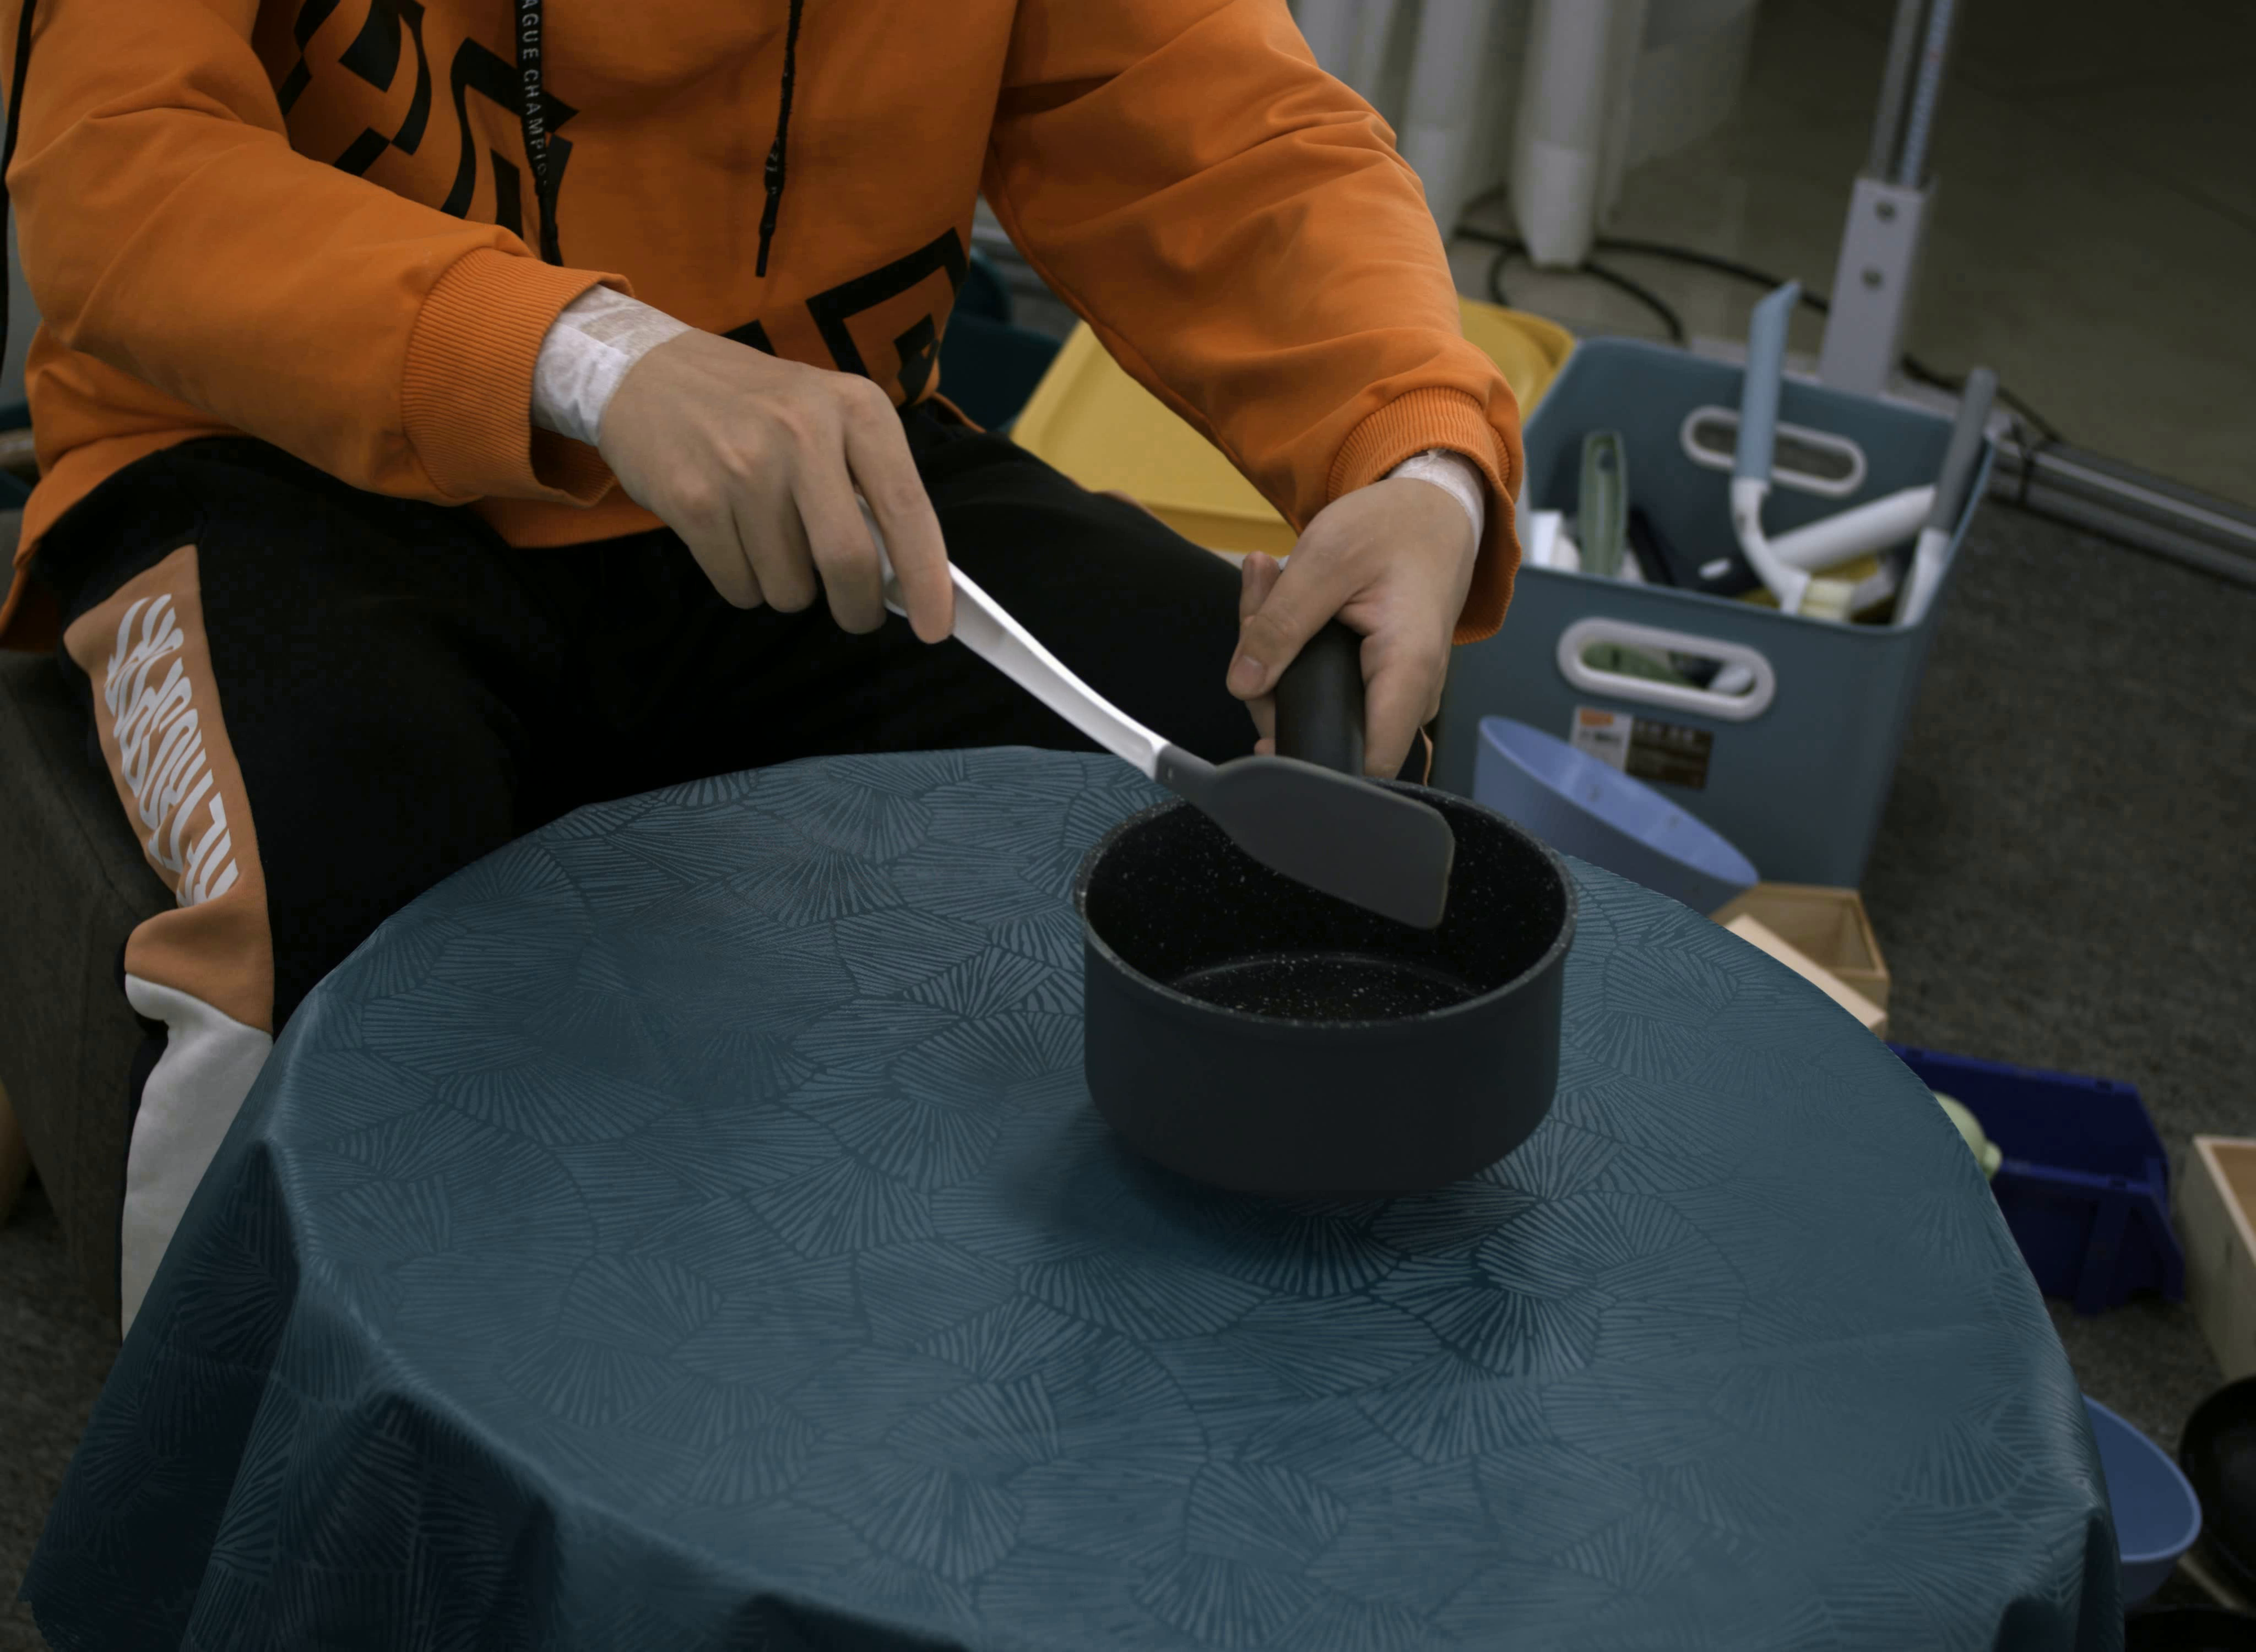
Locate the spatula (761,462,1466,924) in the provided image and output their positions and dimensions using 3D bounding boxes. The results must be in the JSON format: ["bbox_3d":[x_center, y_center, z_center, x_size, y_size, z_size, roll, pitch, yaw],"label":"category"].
[{"bbox_3d":[-0.008,-0.046,1.801,0.289,0.058,0.032,31,44,26],"label":"spatula"}]

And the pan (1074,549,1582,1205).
[{"bbox_3d":[0.072,0.014,1.879,0.171,0.086,0.330,3,31,3],"label":"pan"}]
